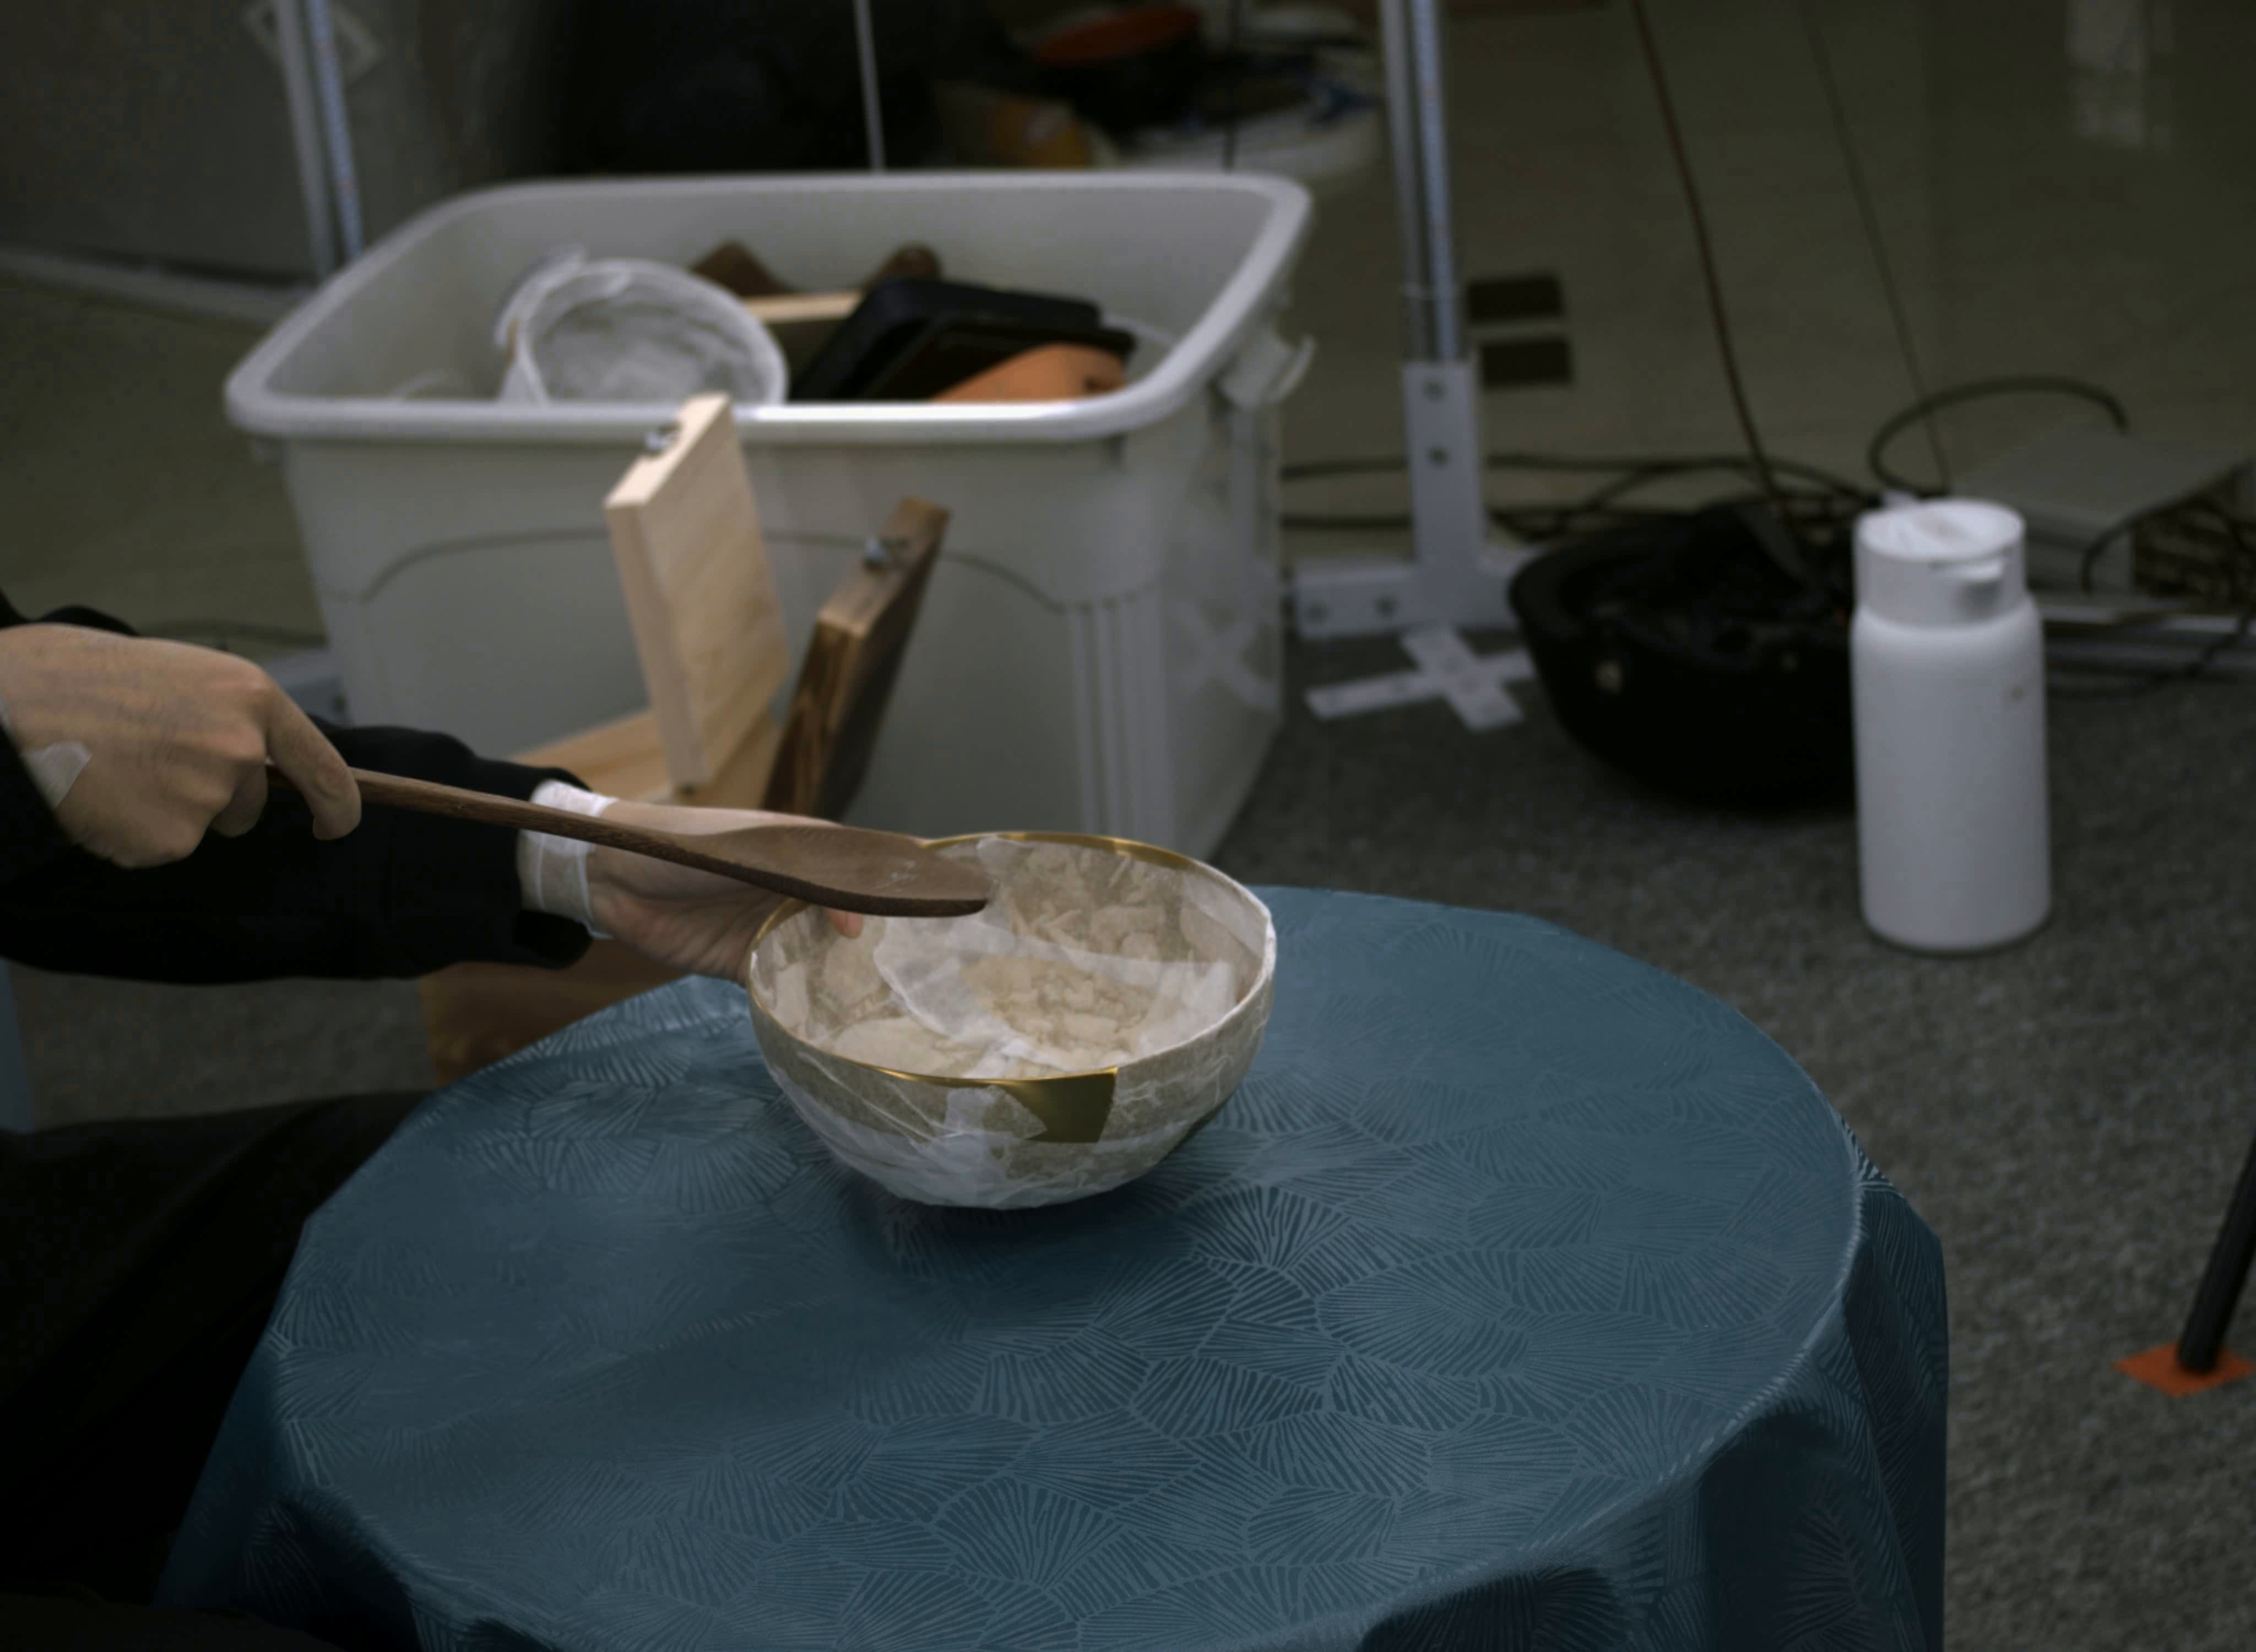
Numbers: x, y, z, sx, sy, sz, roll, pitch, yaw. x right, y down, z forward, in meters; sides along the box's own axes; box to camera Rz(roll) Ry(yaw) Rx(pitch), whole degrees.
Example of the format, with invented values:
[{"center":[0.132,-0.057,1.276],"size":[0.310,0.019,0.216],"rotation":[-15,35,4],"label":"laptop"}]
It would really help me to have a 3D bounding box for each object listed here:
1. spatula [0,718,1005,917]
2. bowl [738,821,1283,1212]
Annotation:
[{"center":[-0.220,-0.005,1.955],"size":[0.387,0.016,0.095],"rotation":[9,13,-30],"label":"spatula"},{"center":[-0.043,0.085,2.163],"size":[0.214,0.096,0.211],"rotation":[-3,29,2],"label":"bowl"}]
